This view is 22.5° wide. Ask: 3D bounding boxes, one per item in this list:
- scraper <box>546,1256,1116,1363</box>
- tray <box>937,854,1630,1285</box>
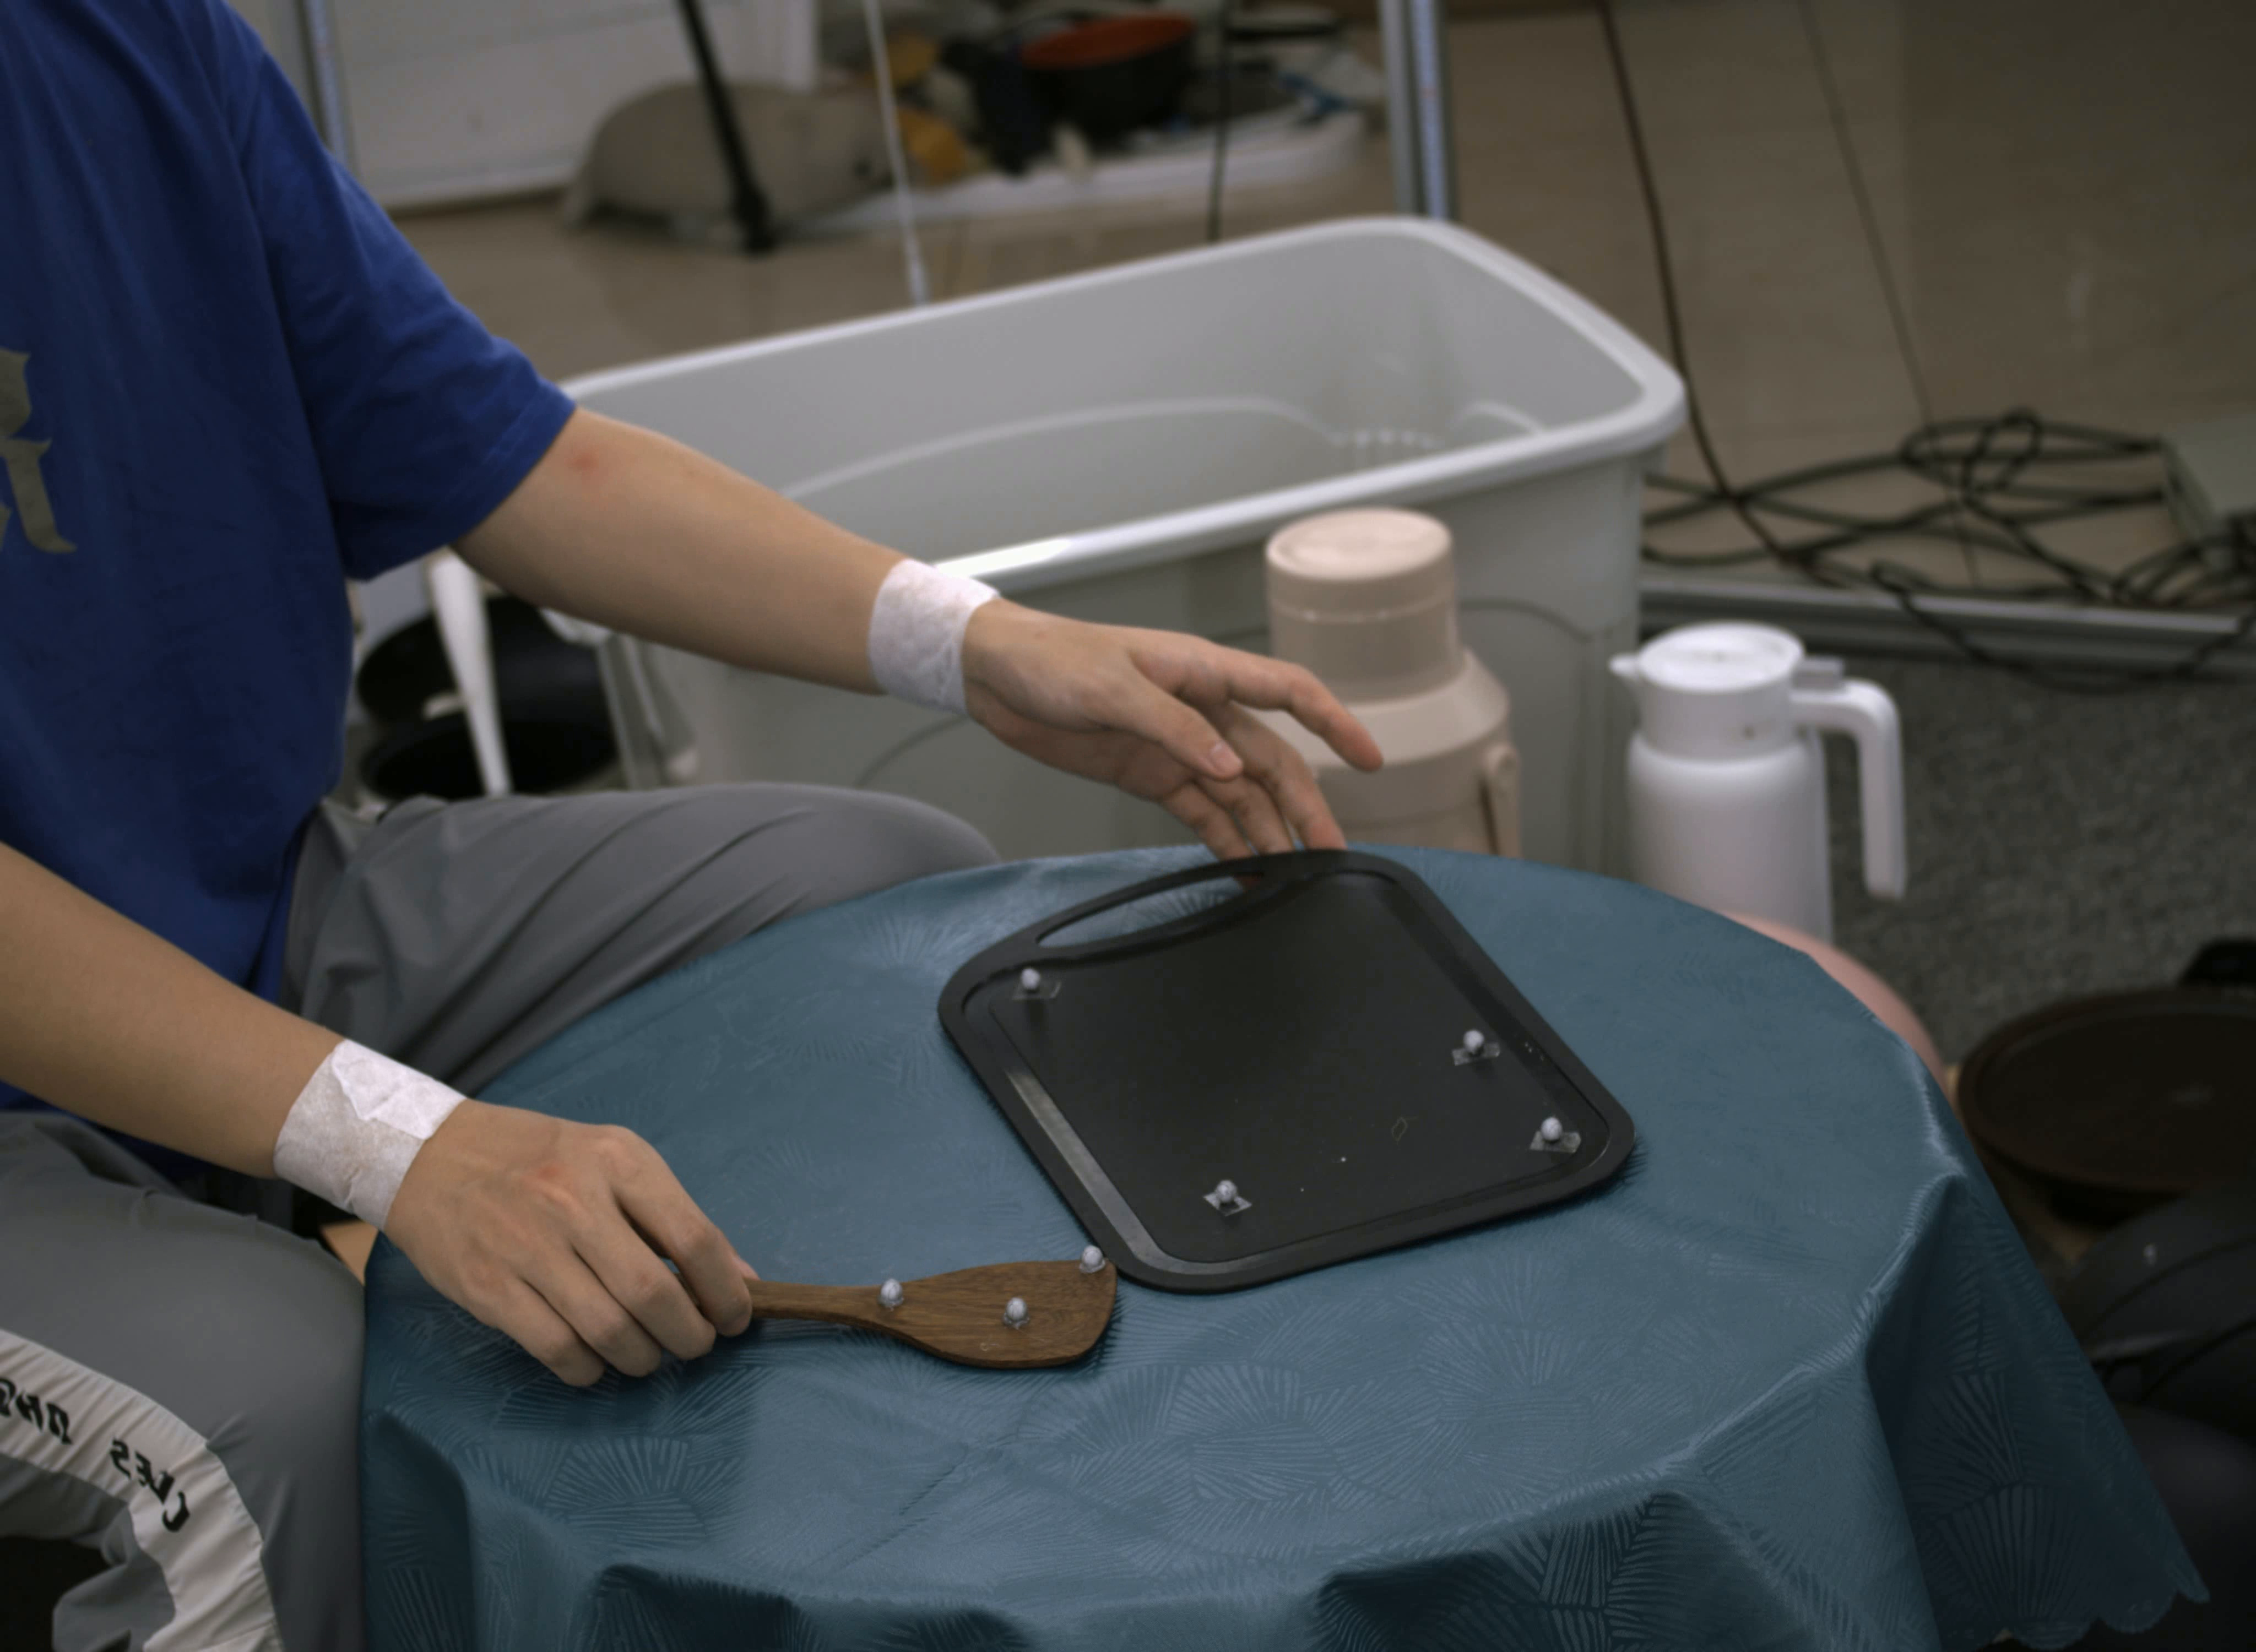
[{"bbox_3d":[-0.109,0.174,2.076,0.211,0.011,0.075,2,25,9],"label":"scraper"},{"bbox_3d":[0.052,0.087,2.222,0.210,0.010,0.321,-15,28,-13],"label":"tray"}]
